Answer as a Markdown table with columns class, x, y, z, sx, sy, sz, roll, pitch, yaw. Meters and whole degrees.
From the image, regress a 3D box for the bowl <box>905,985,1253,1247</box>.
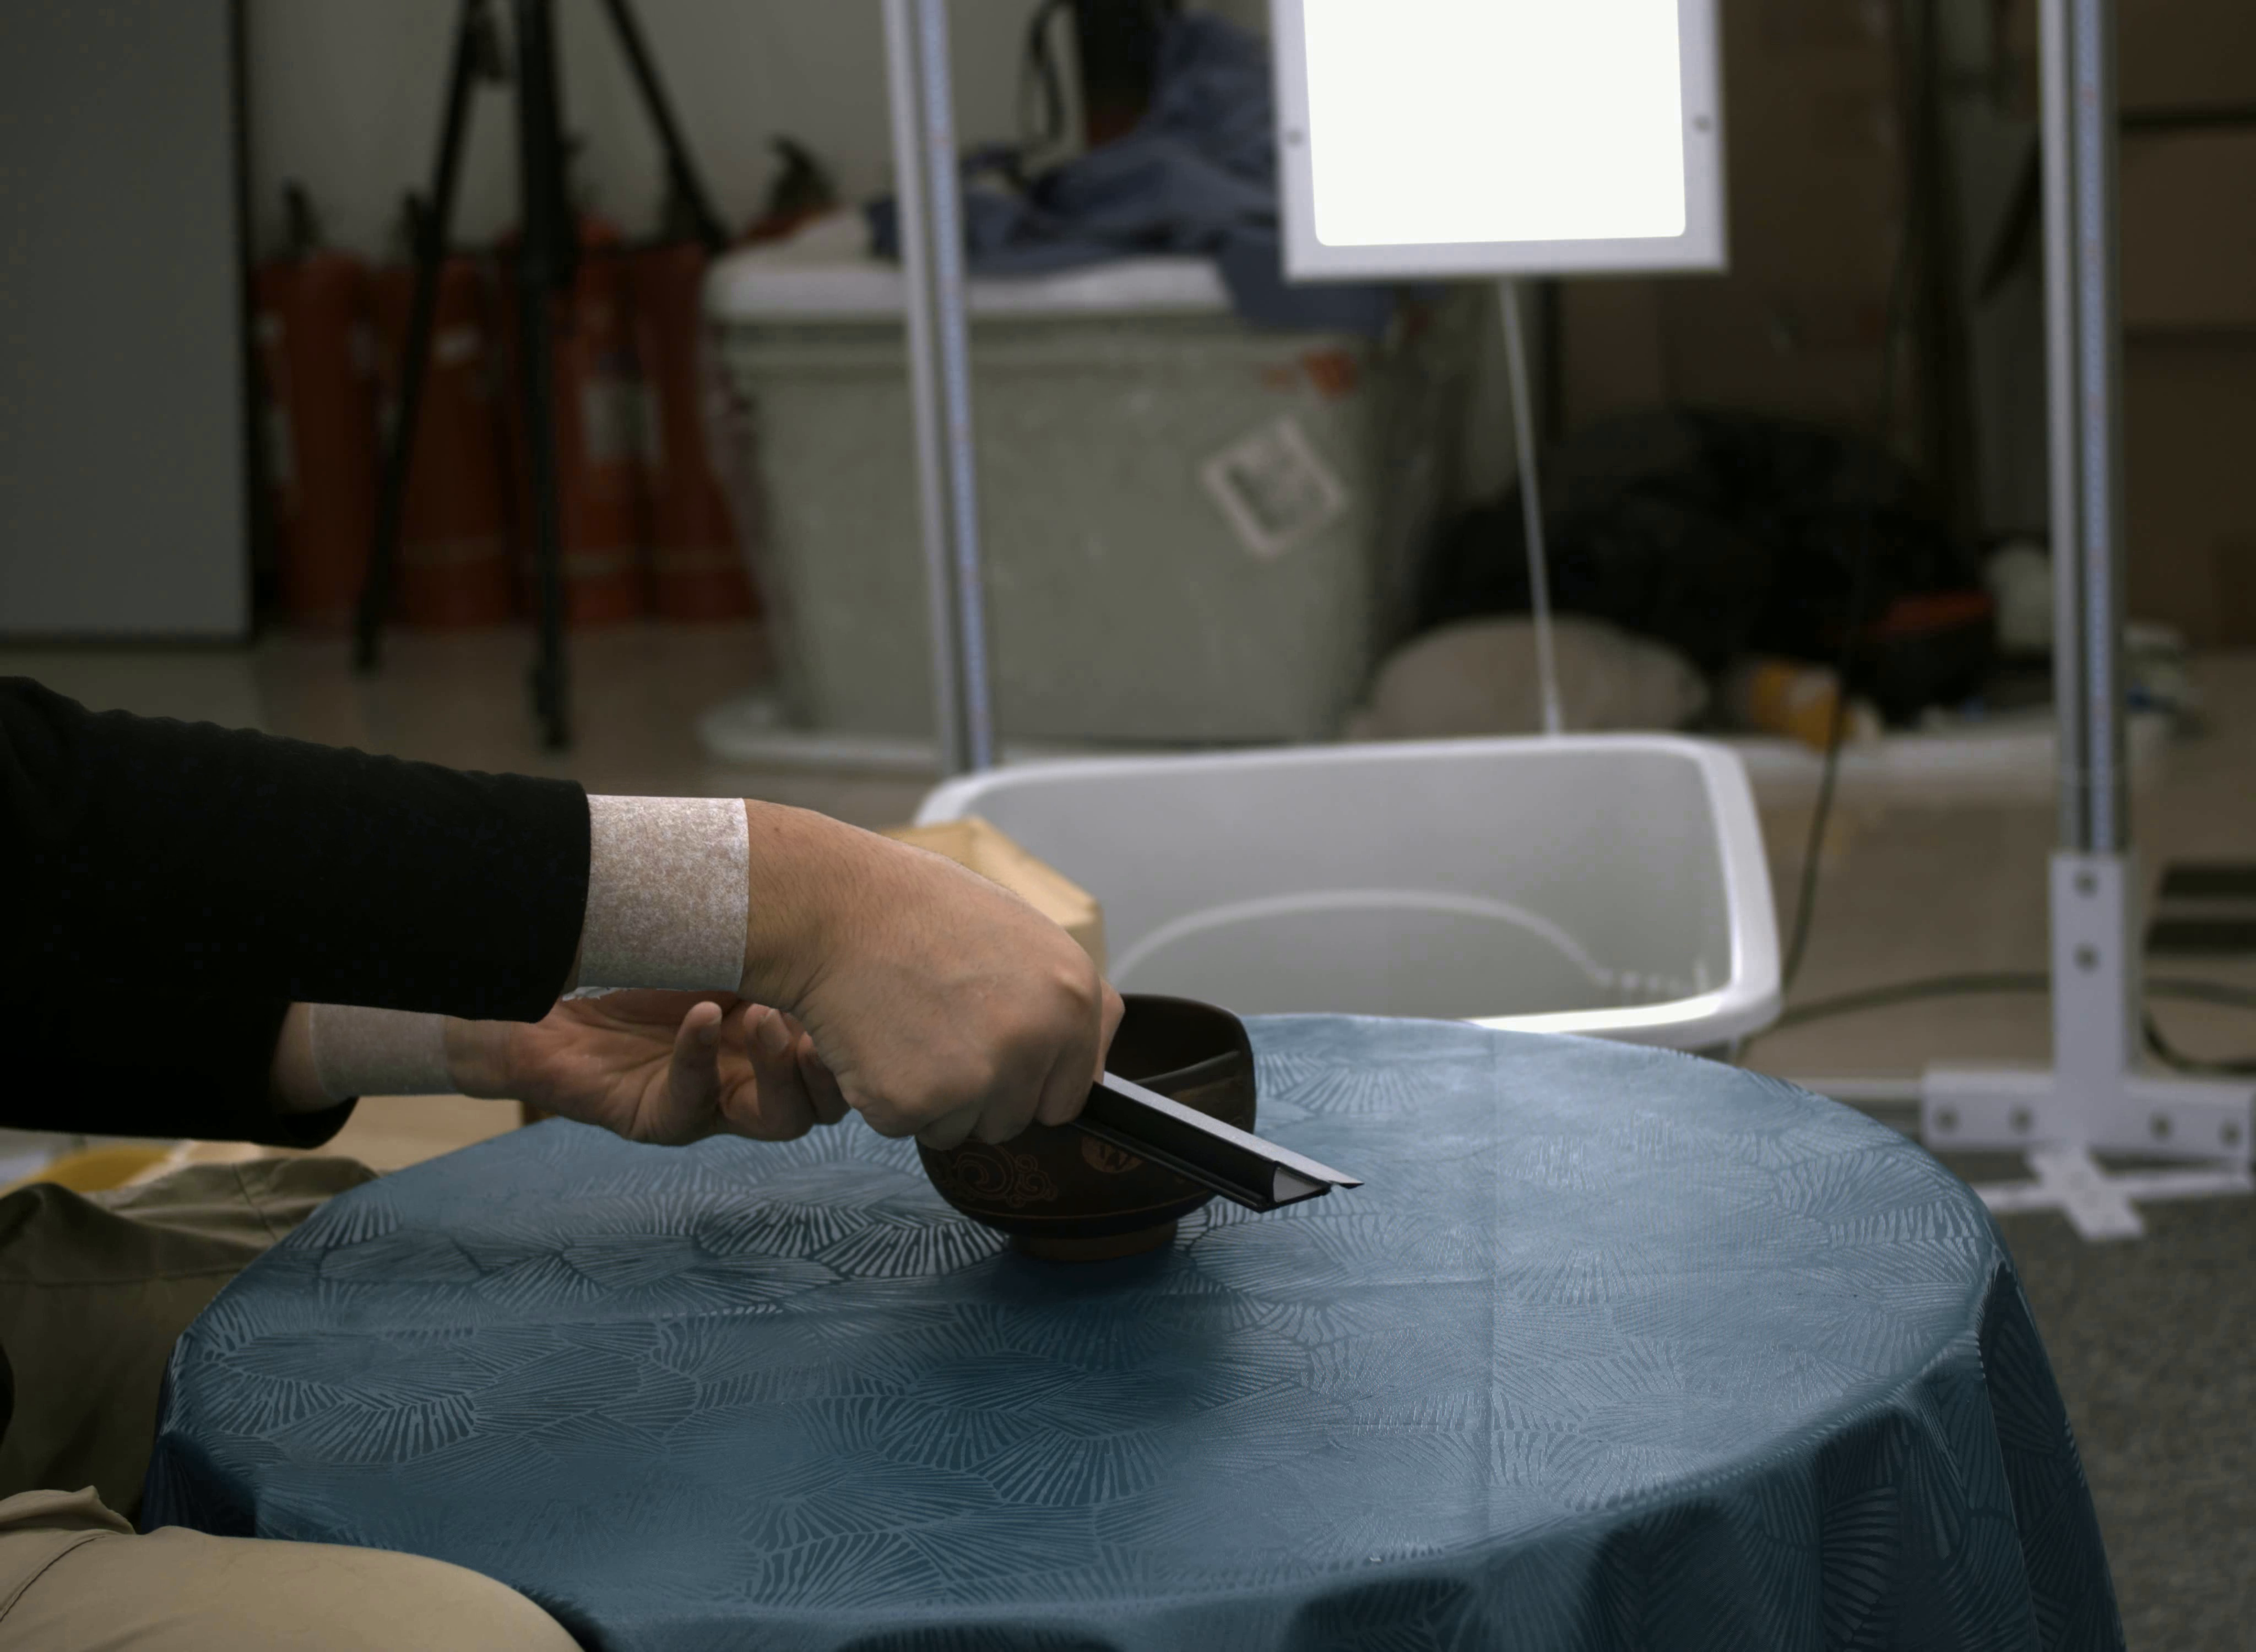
| class | x | y | z | sx | sy | sz | roll | pitch | yaw |
| --- | --- | --- | --- | --- | --- | --- | --- | --- | --- |
| bowl | -0.016 | 0.100 | 1.845 | 0.117 | 0.070 | 0.118 | 0 | 12 | -1 |

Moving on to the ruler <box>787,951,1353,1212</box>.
| class | x | y | z | sx | sy | sz | roll | pitch | yaw |
| --- | --- | --- | --- | --- | --- | --- | --- | --- | --- |
| ruler | -0.024 | 0.077 | 1.790 | 0.038 | 0.017 | 0.318 | -10 | 15 | -29 |
